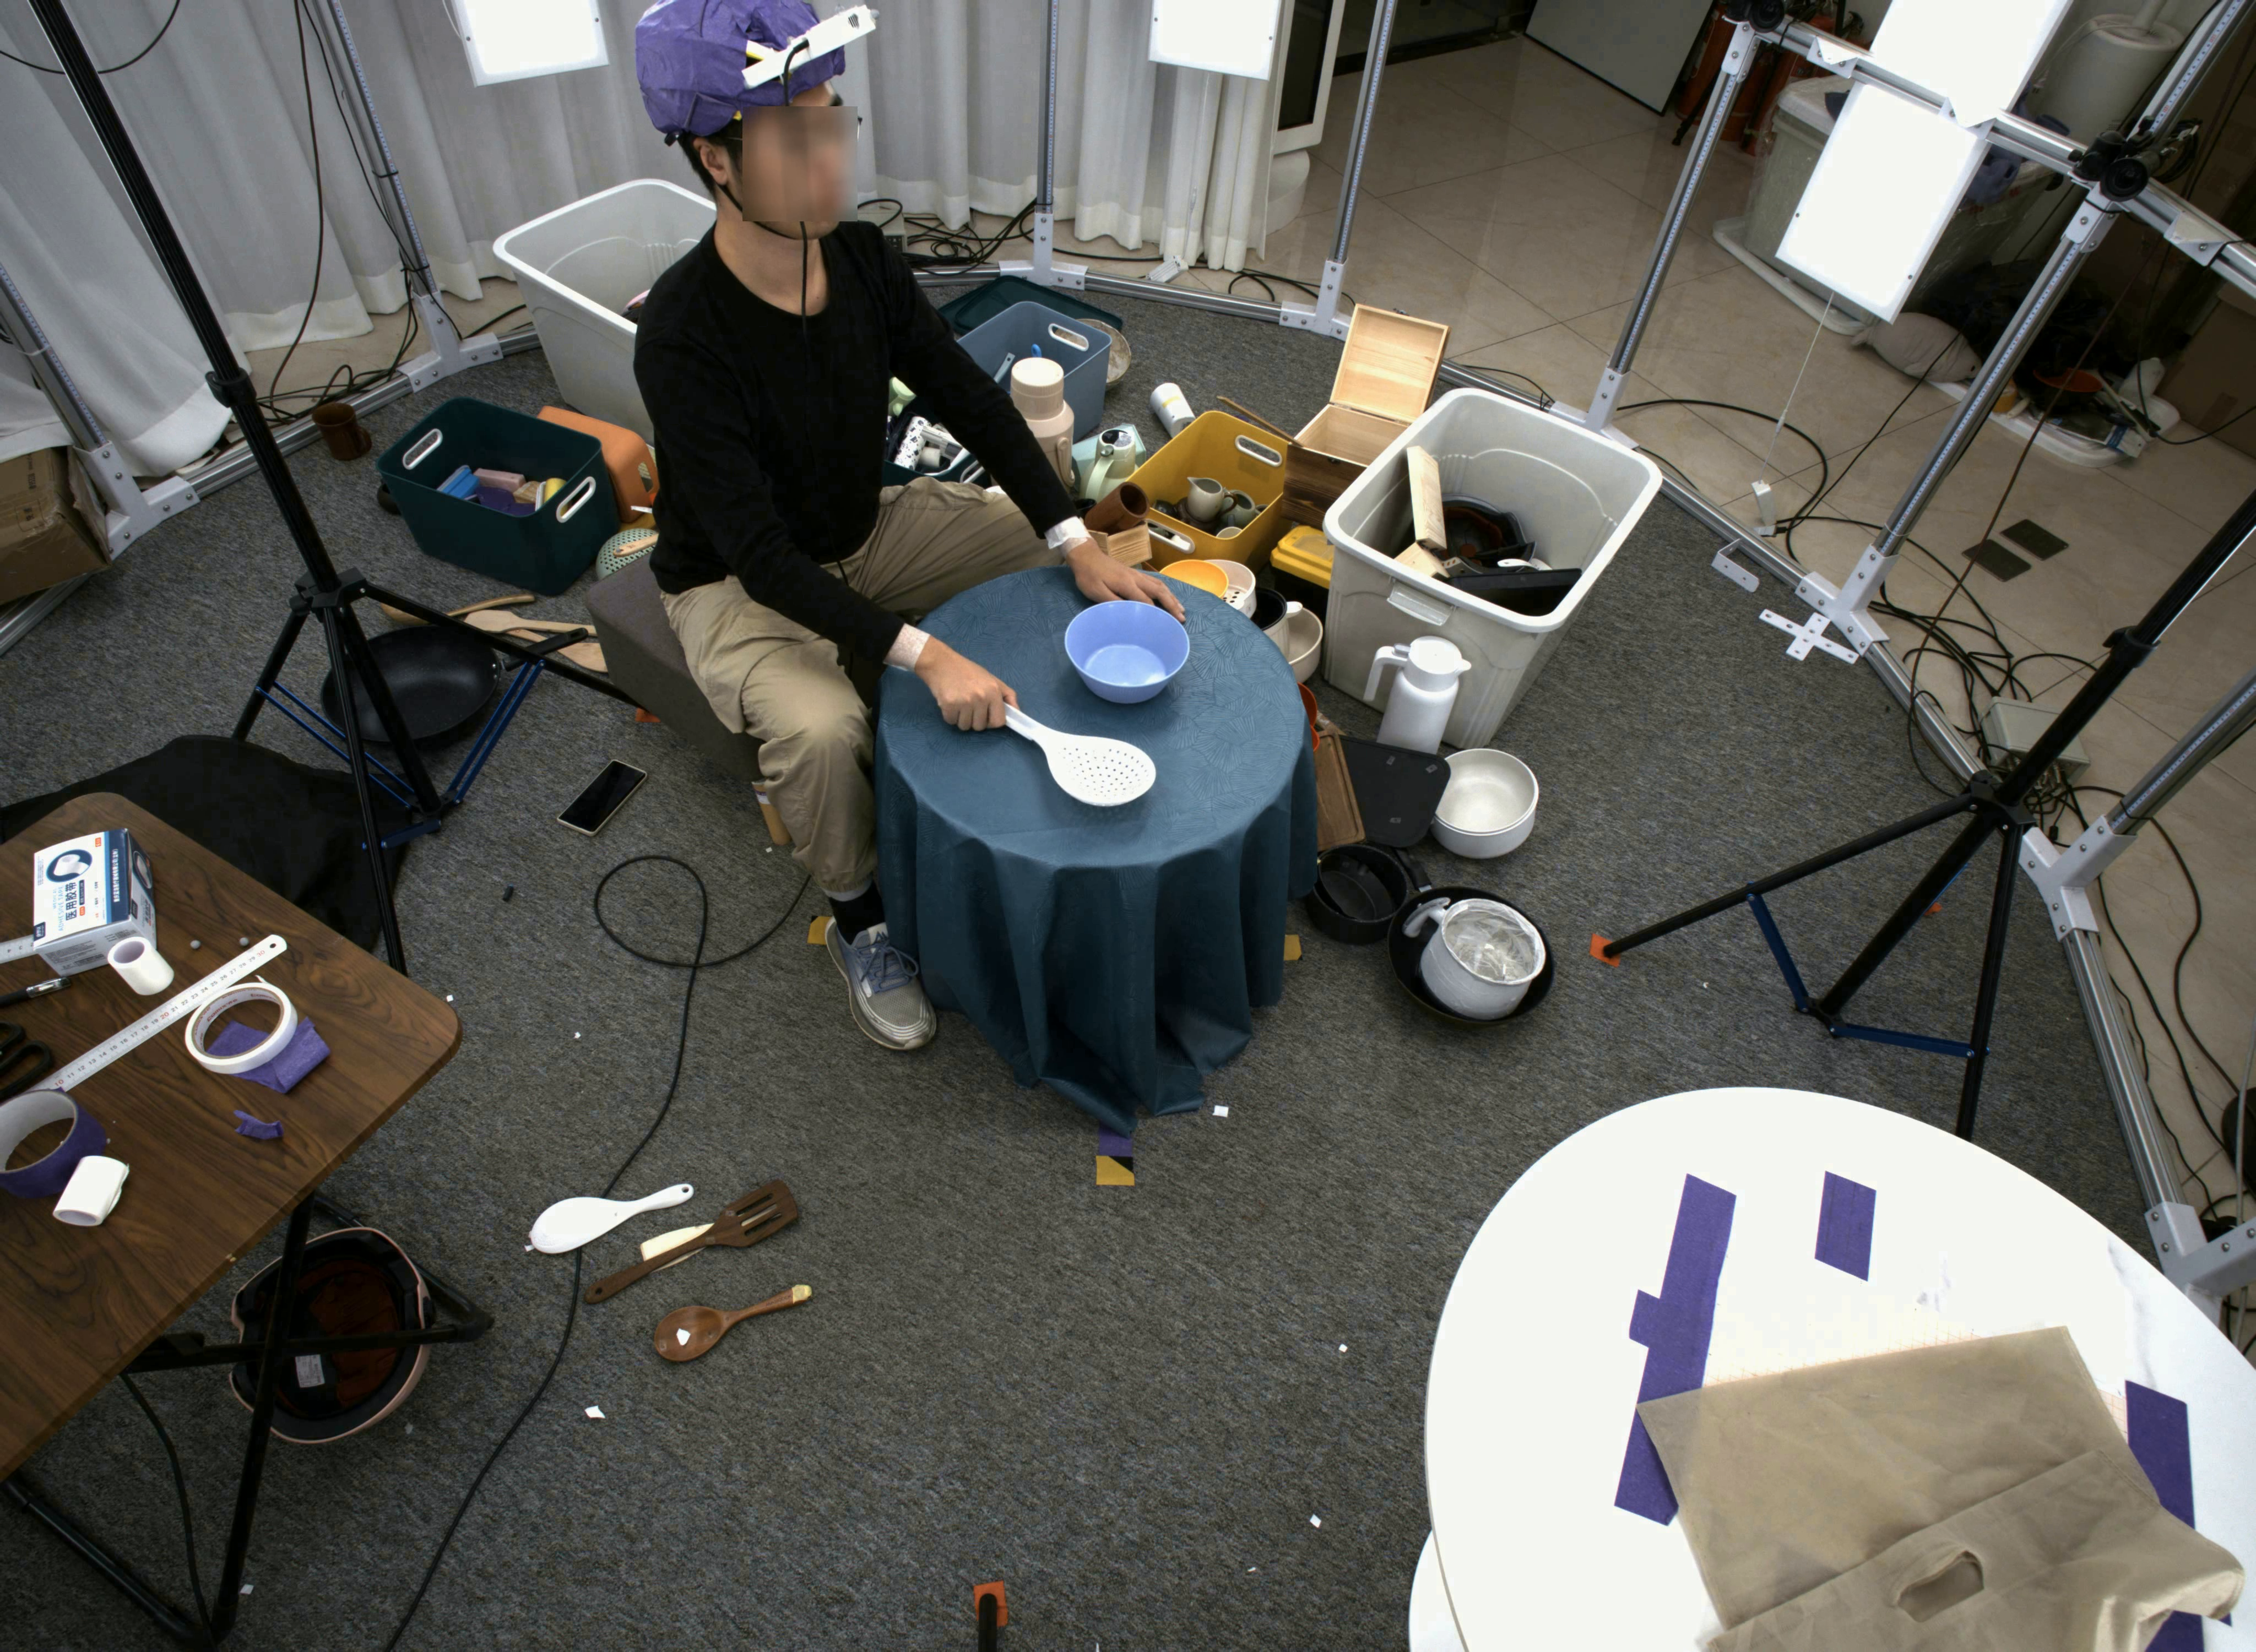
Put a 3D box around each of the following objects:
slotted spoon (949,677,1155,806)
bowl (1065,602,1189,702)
[{"bbox_3d":[-0.114,-0.120,1.736,0.354,0.044,0.137,35,48,25],"label":"slotted spoon"},{"bbox_3d":[-0.003,-0.240,1.832,0.176,0.068,0.180,2,48,-2],"label":"bowl"}]
